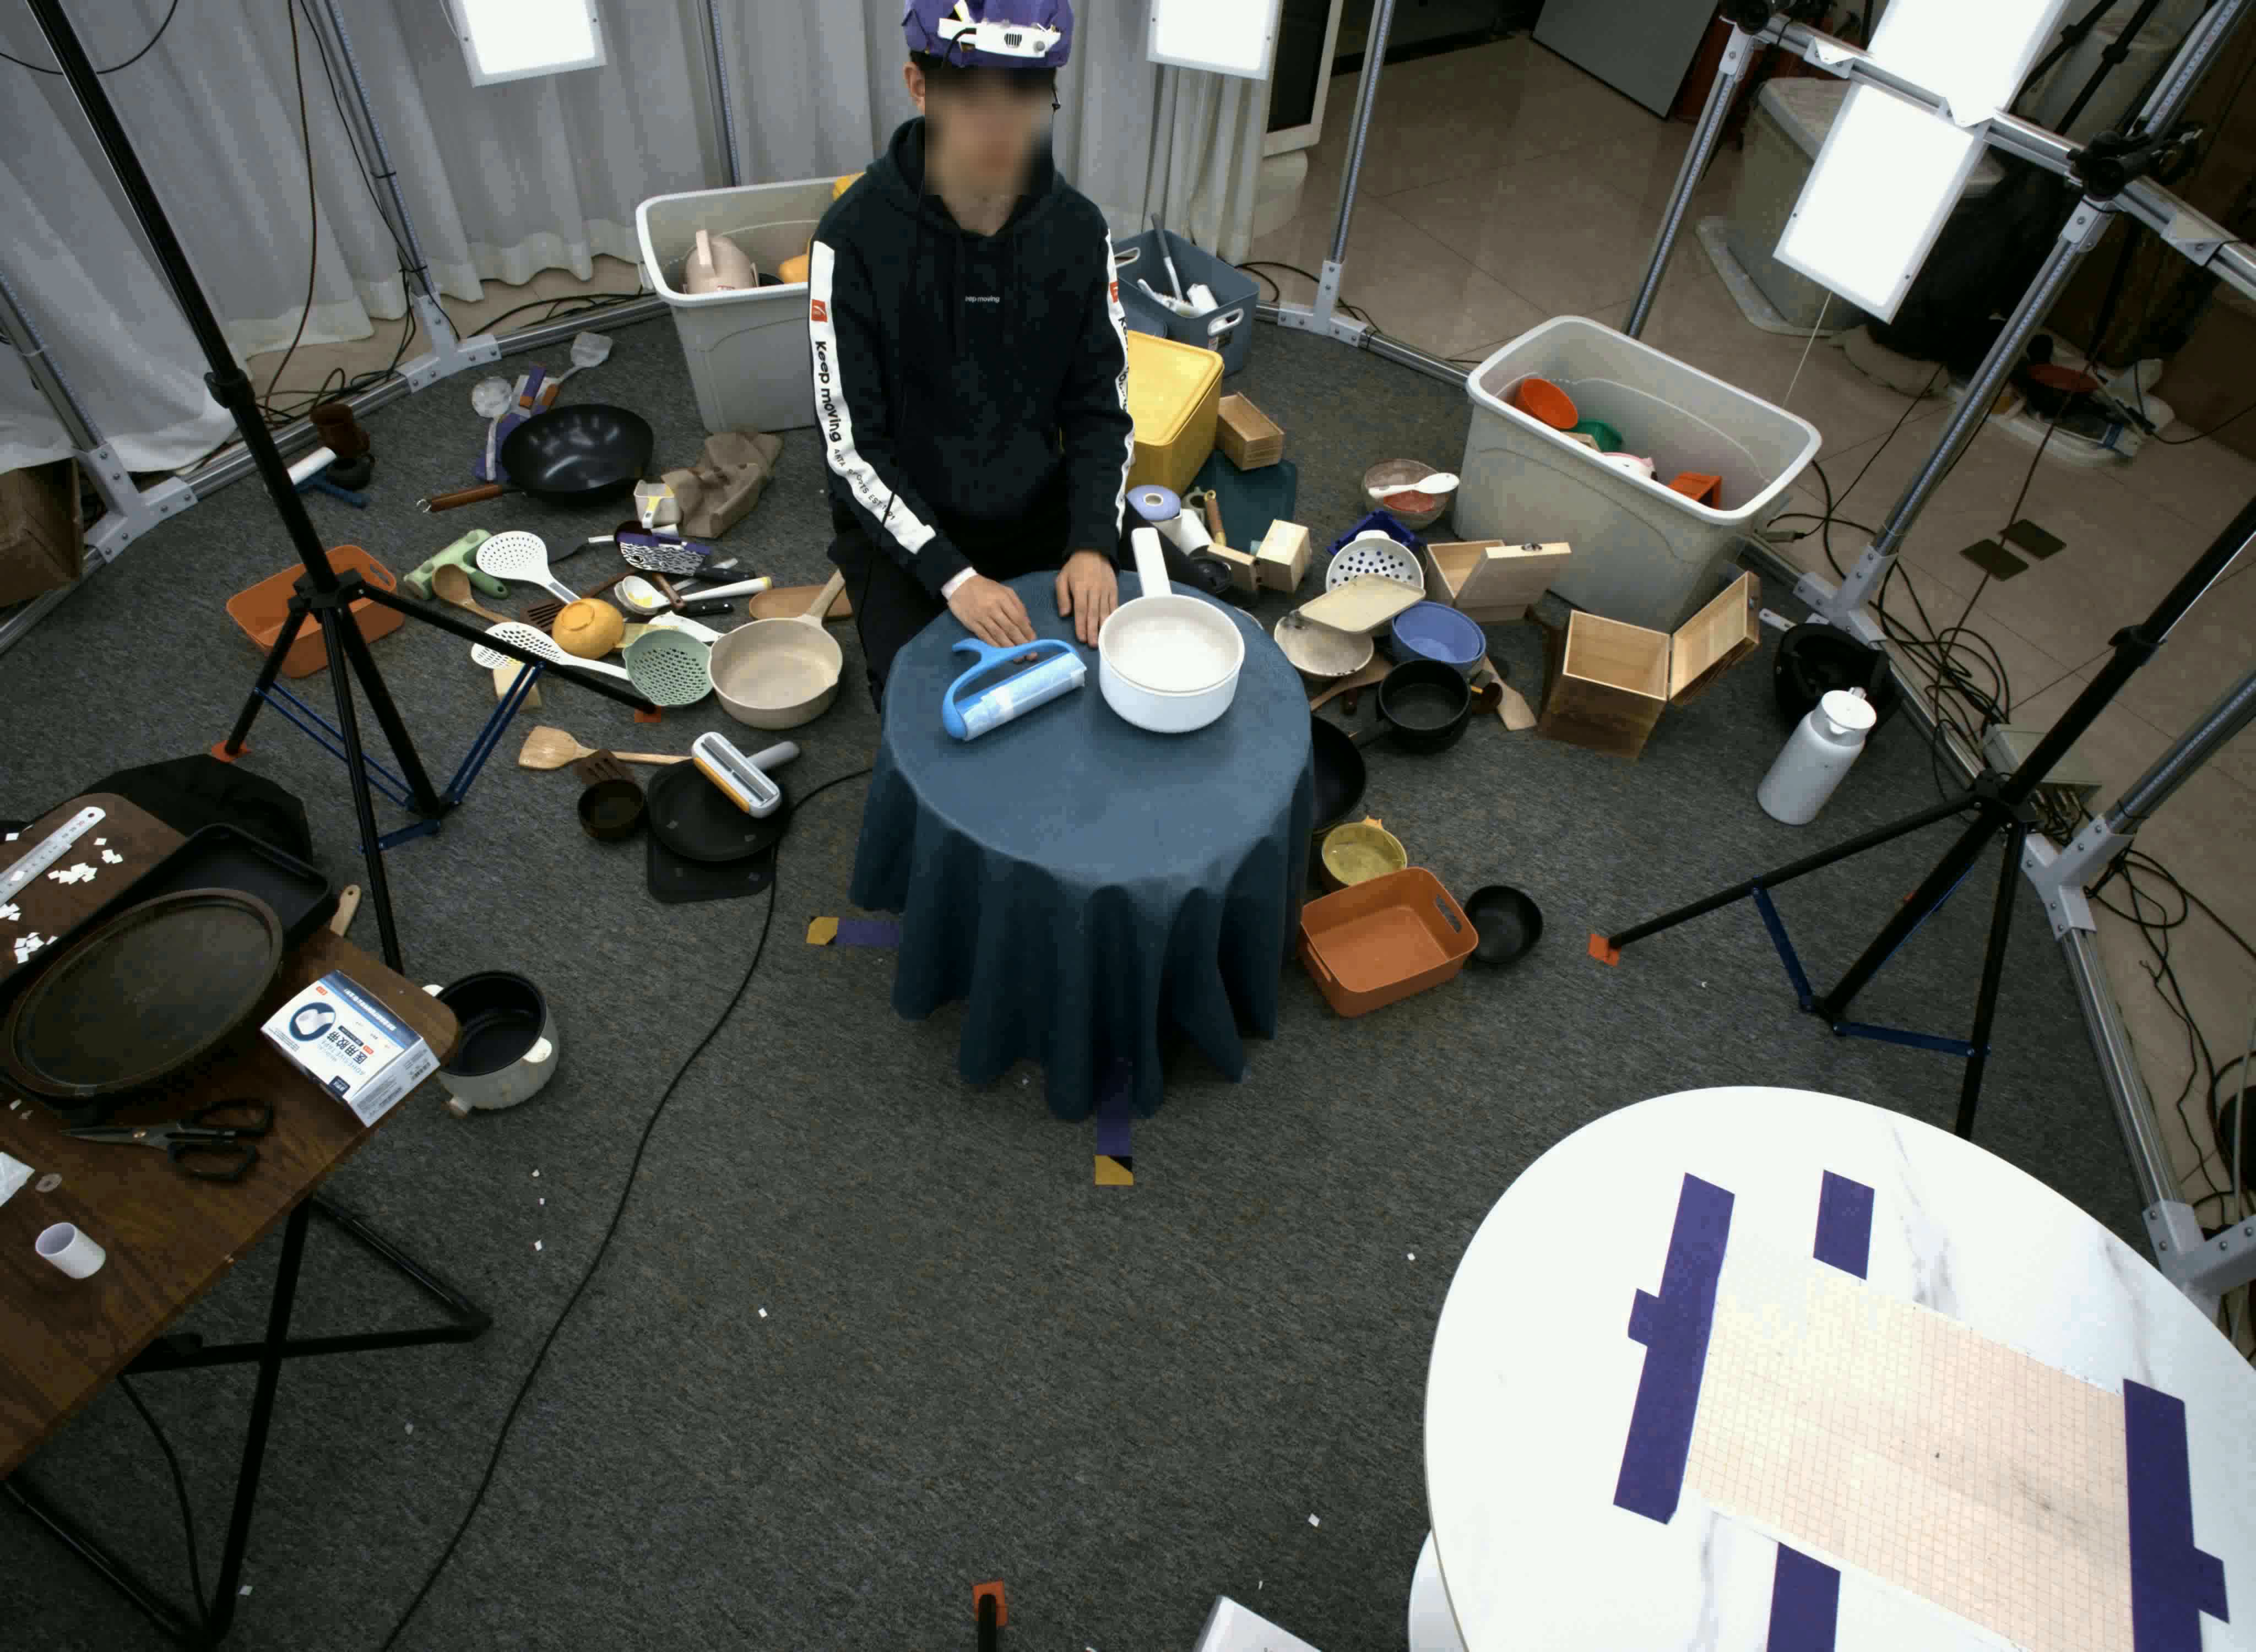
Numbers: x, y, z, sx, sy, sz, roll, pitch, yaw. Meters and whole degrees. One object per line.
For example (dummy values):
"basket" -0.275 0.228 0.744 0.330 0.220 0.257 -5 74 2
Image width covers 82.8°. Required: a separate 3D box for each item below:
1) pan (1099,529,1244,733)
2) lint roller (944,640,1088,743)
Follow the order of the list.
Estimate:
"pan" 0.048 -0.281 1.852 0.201 0.099 0.364 -4 49 -6
"lint roller" -0.190 -0.218 1.808 0.230 0.066 0.183 -33 59 -26
